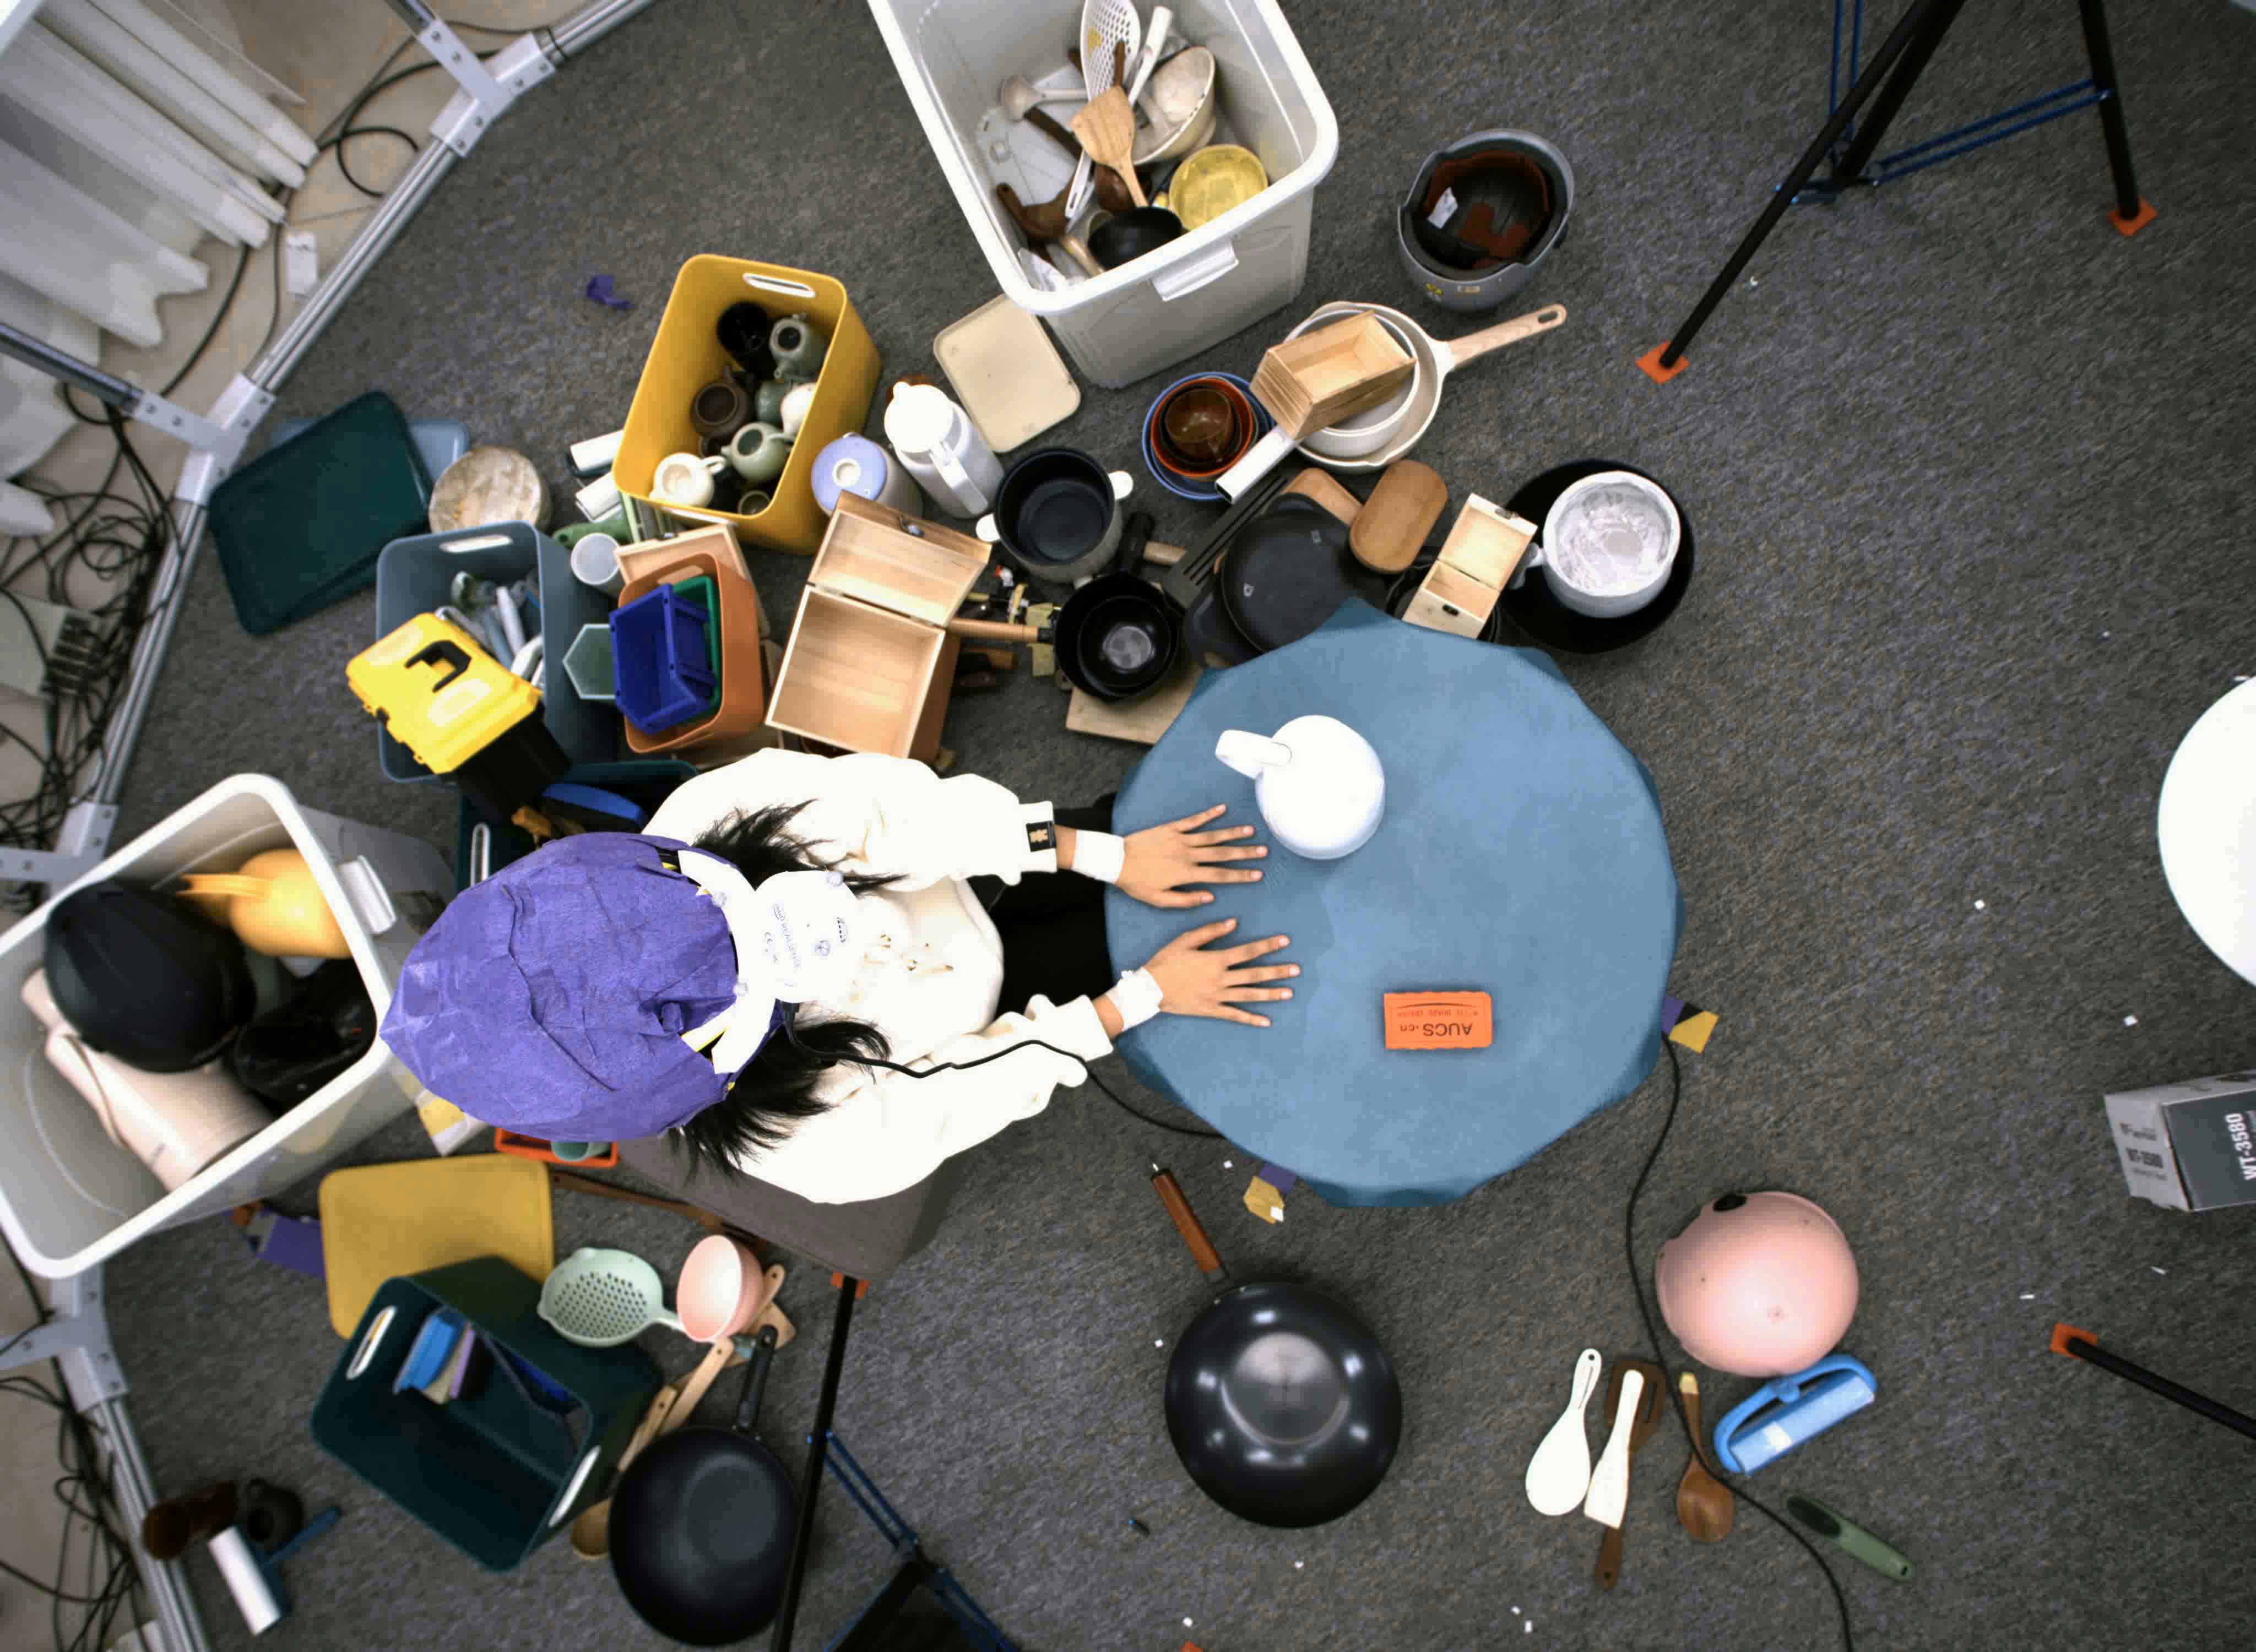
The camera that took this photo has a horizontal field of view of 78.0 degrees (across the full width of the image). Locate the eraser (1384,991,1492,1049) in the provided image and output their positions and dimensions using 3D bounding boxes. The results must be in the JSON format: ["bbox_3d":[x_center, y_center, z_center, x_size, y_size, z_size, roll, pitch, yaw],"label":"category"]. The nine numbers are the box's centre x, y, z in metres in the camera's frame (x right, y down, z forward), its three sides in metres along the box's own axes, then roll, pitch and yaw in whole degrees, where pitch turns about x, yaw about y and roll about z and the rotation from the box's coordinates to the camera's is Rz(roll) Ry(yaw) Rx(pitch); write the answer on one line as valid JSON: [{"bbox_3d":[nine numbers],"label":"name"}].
[{"bbox_3d":[0.321,0.199,1.432,0.108,0.023,0.058,-2,84,10],"label":"eraser"}]

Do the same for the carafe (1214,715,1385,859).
[{"bbox_3d":[0.169,-0.049,1.360,0.168,0.249,0.132,19,88,12],"label":"carafe"}]
